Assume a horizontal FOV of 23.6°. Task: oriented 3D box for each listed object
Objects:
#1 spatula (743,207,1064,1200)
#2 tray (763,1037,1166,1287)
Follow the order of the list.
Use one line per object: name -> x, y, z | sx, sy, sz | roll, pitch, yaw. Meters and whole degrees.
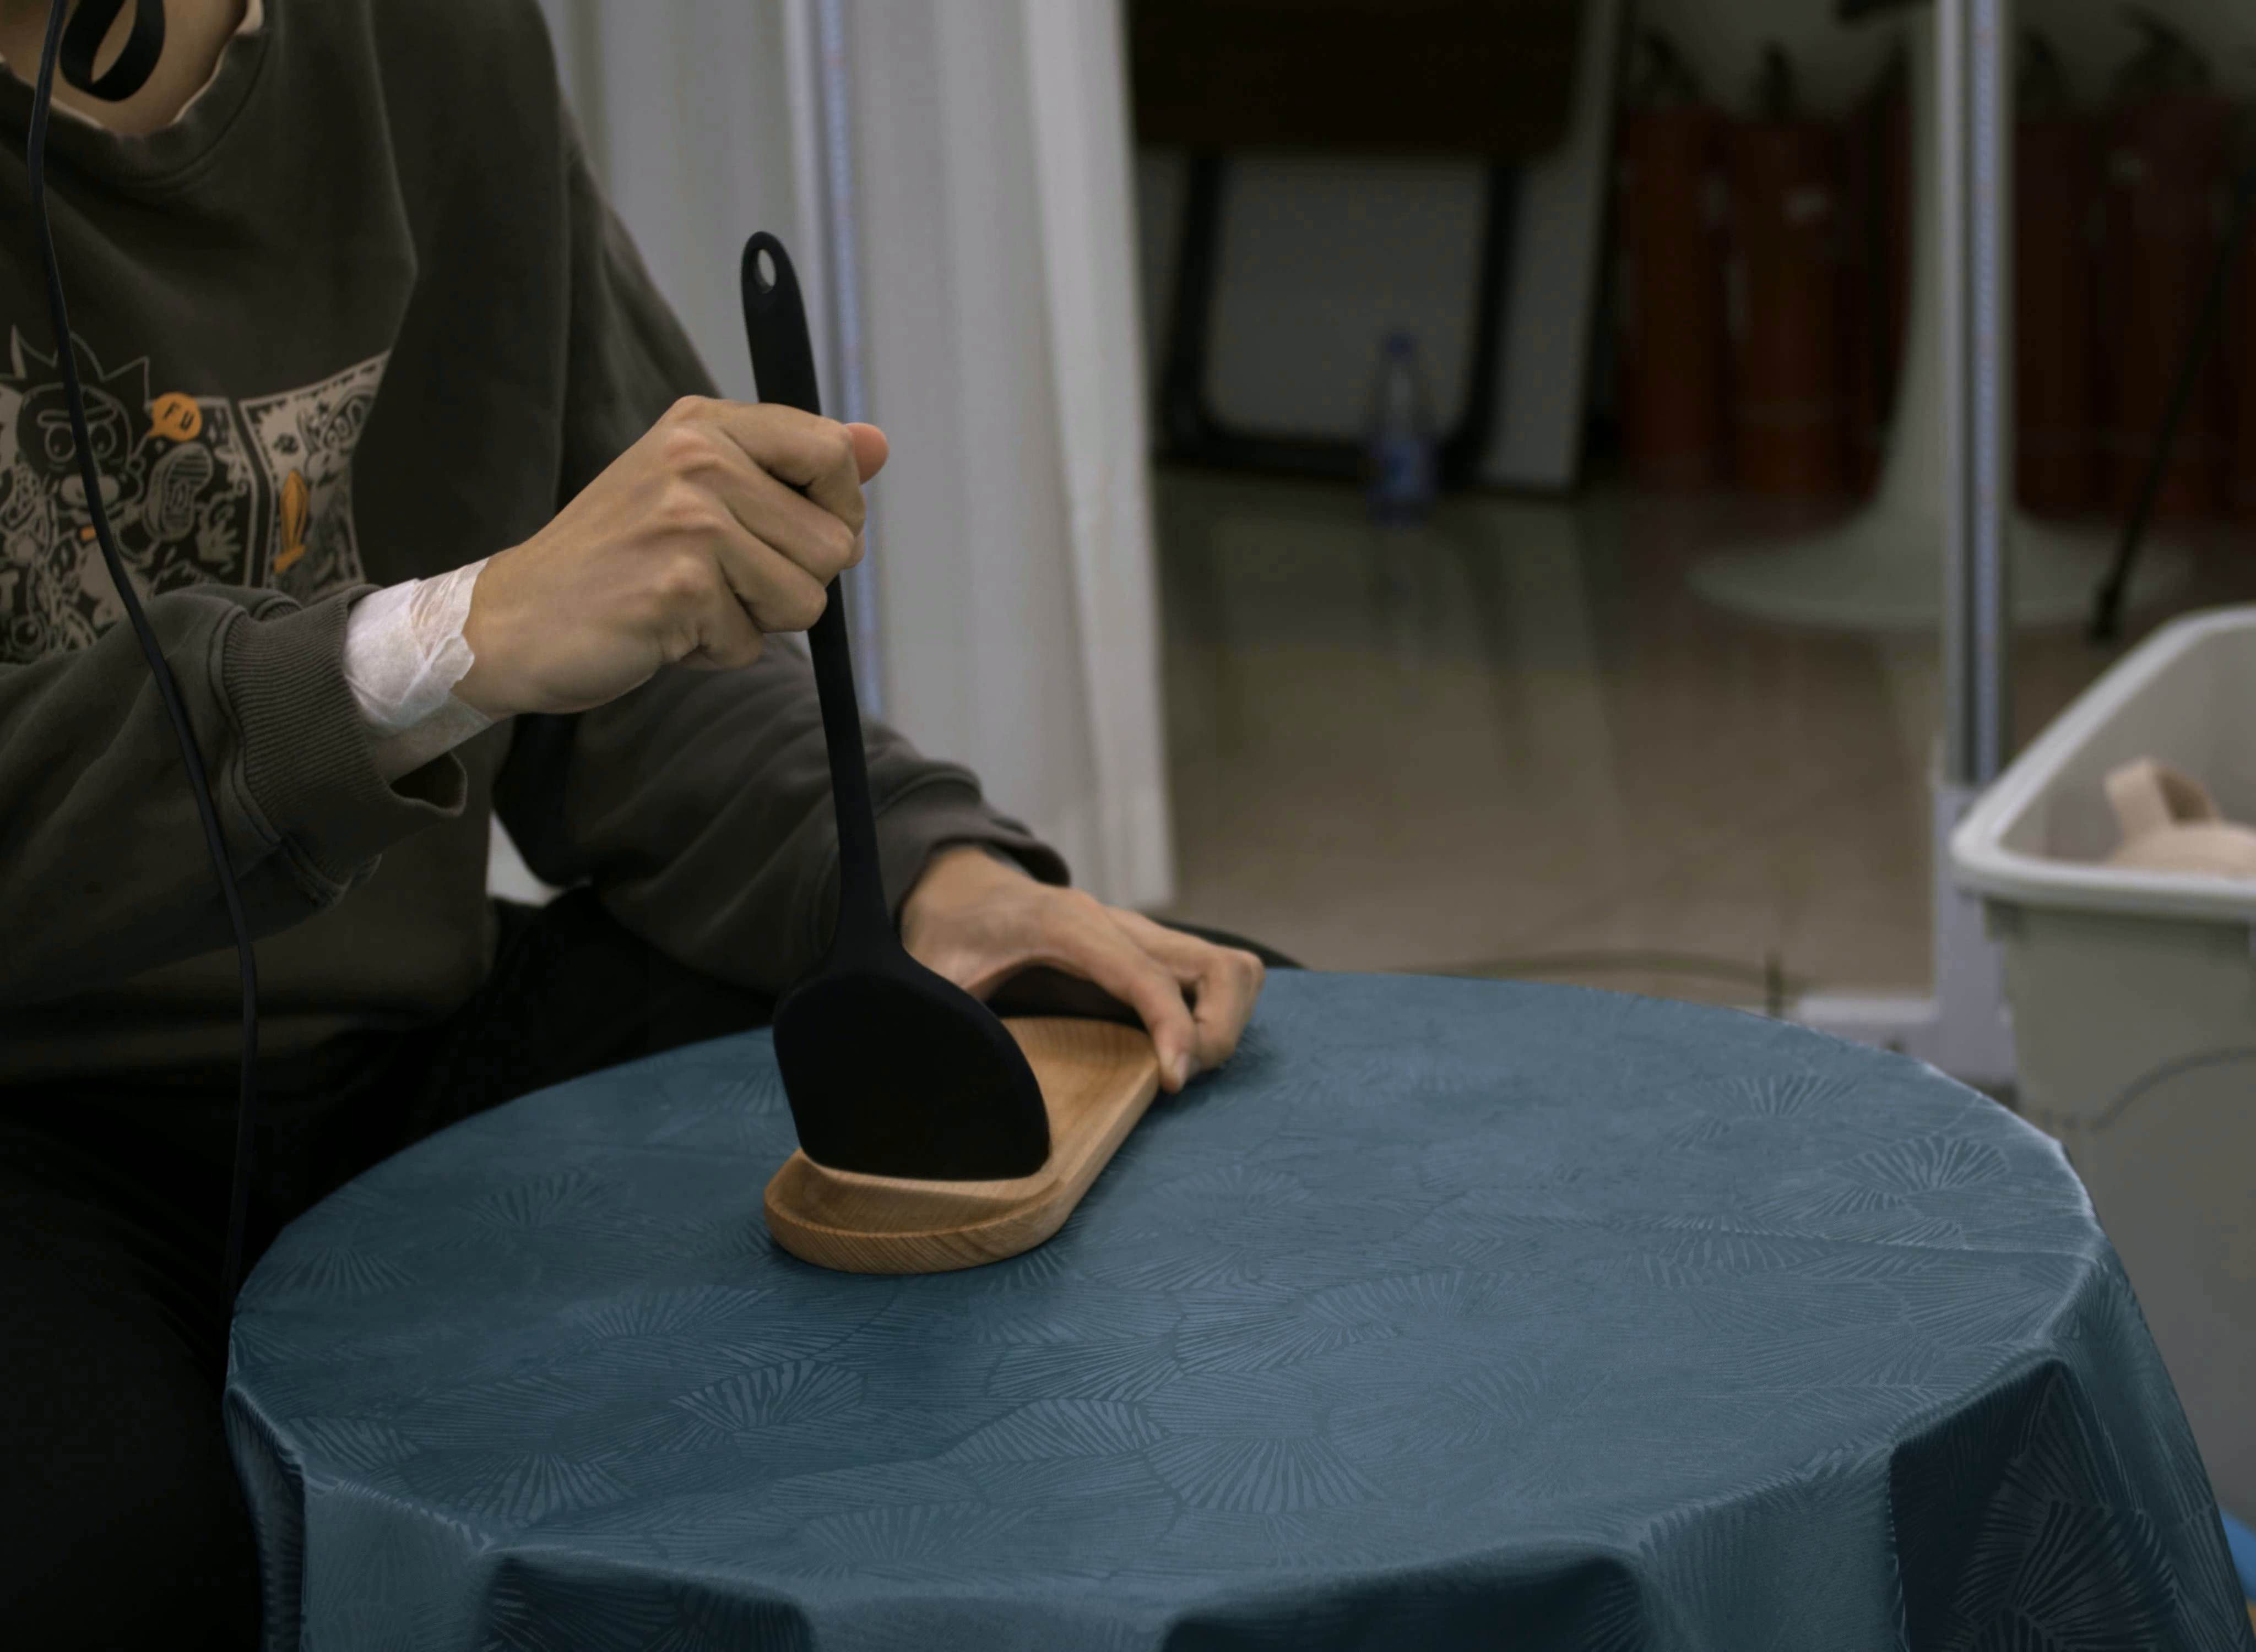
spatula -> -0.087, -0.033, 1.705 | 0.100, 0.329, 0.040 | -1, 14, 24
tray -> -0.052, 0.110, 1.805 | 0.101, 0.020, 0.229 | -1, 16, 15
